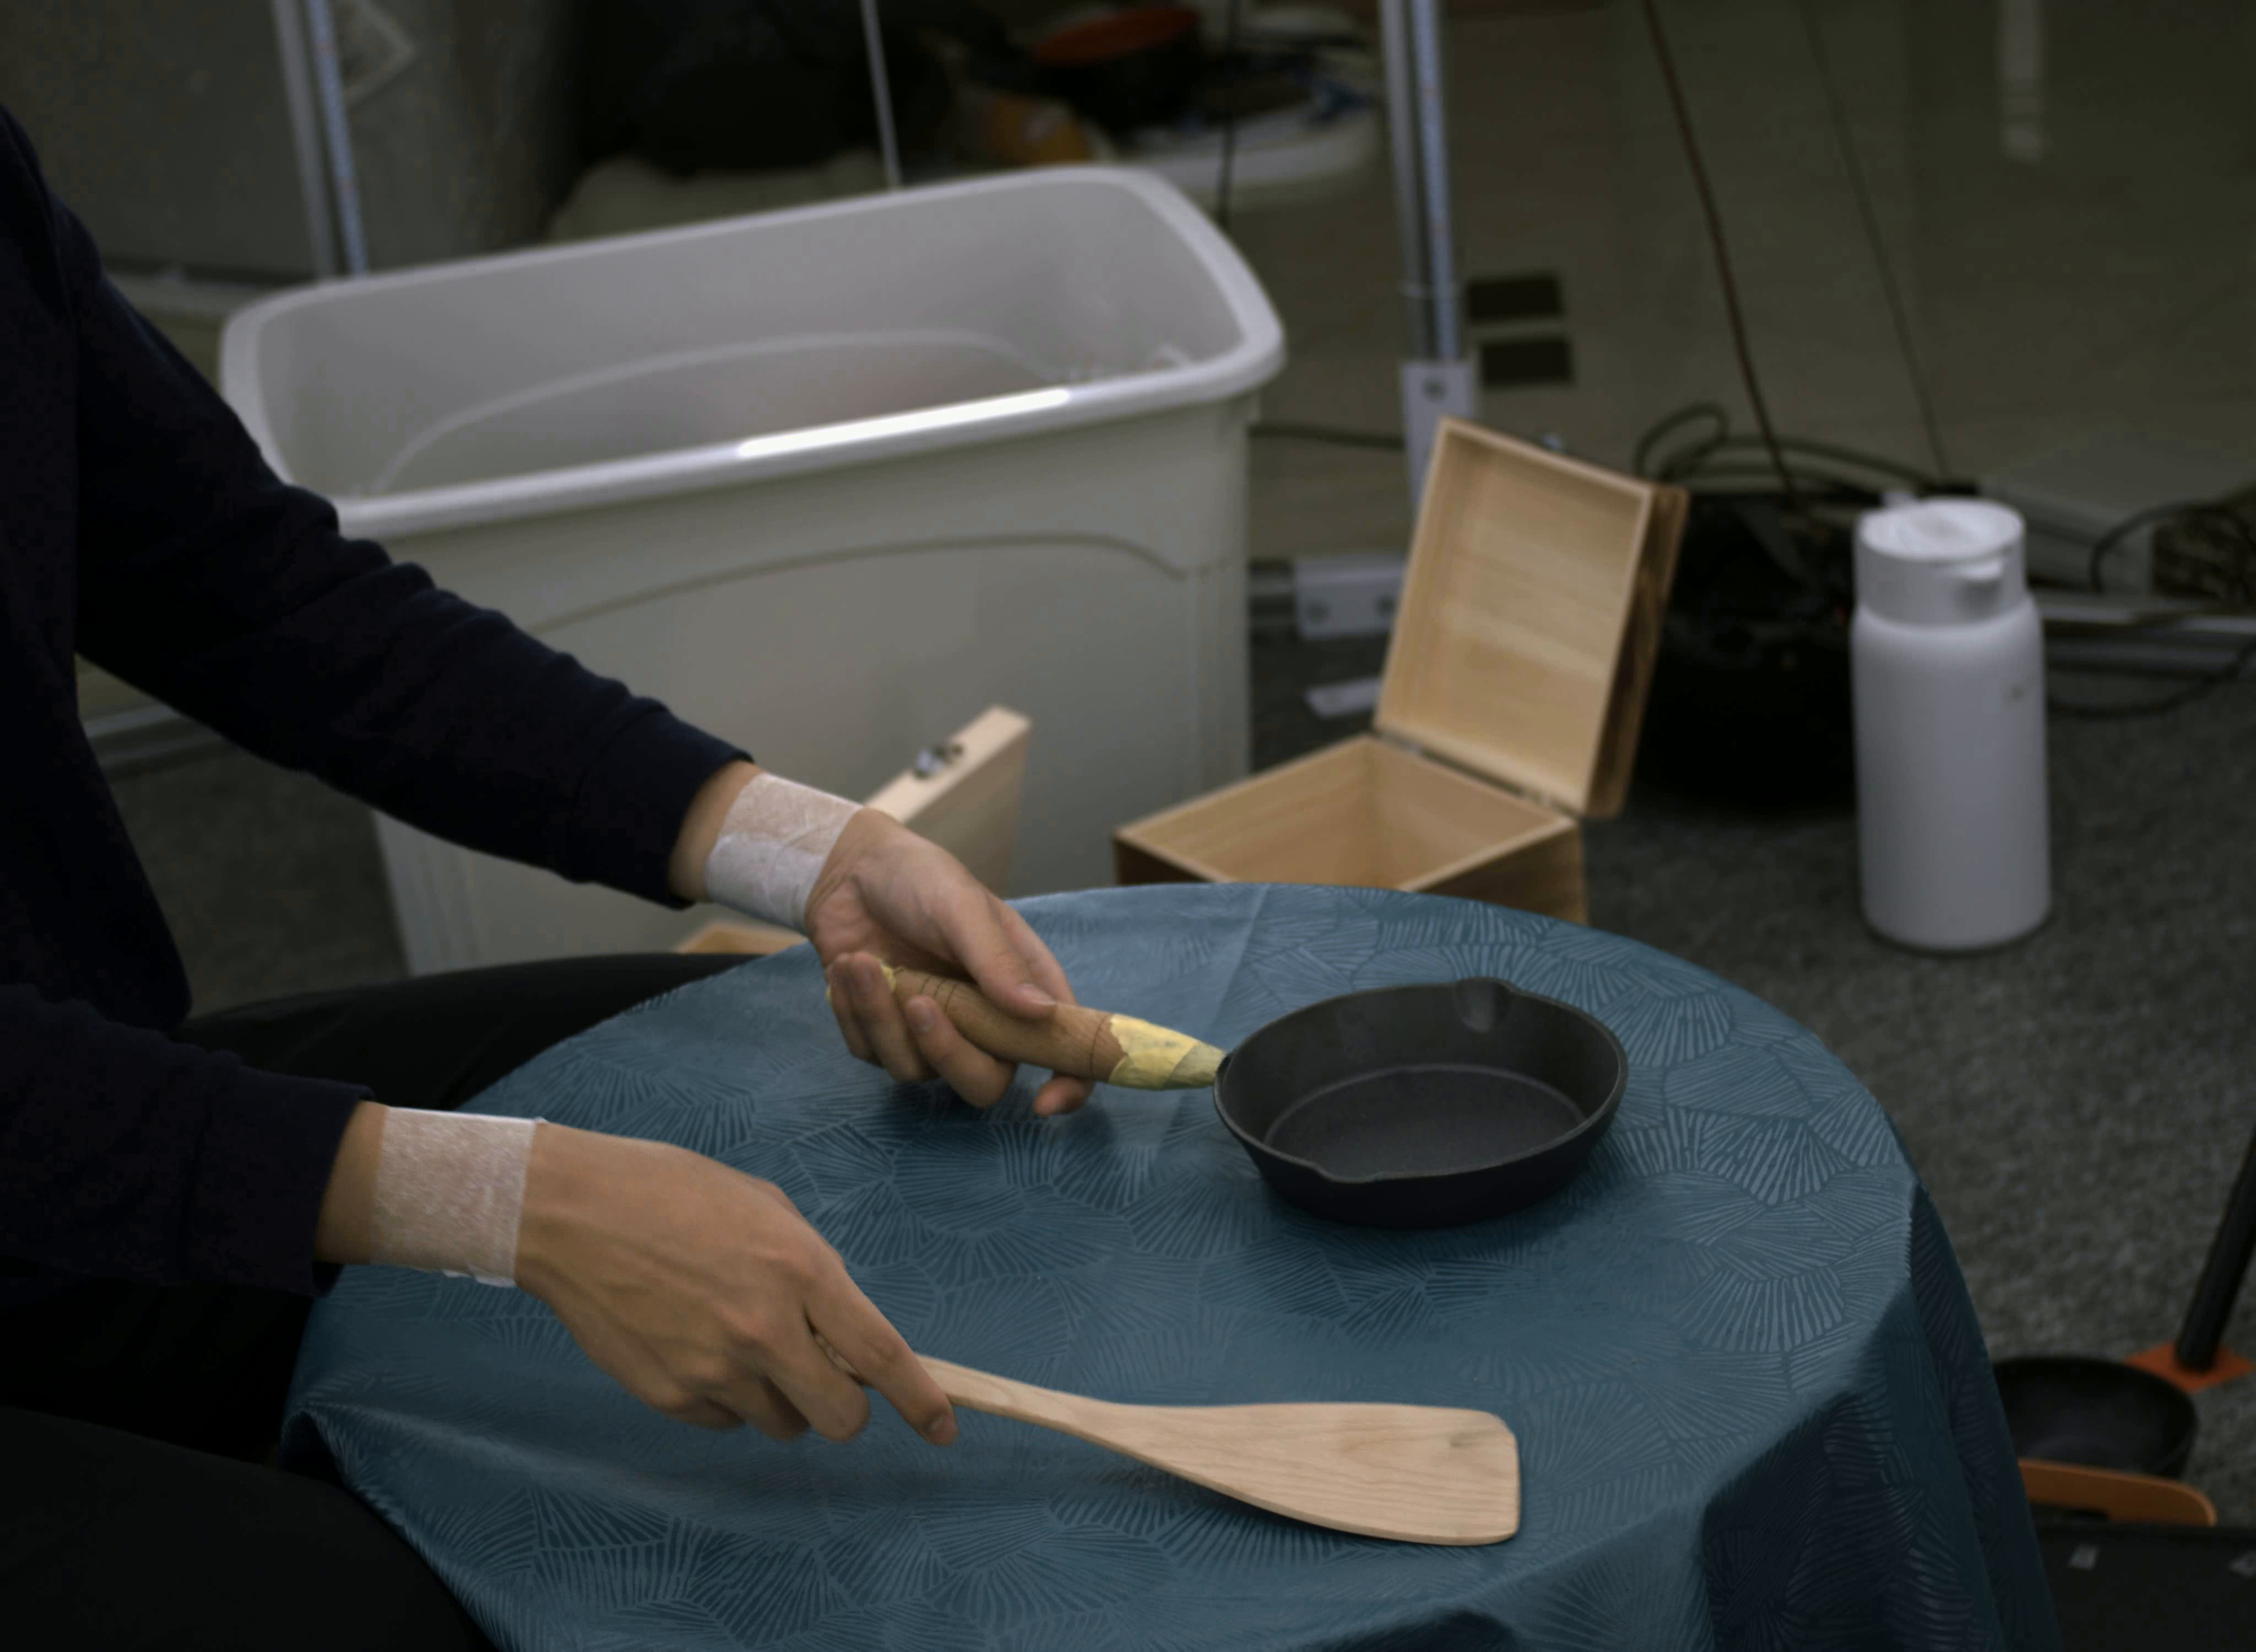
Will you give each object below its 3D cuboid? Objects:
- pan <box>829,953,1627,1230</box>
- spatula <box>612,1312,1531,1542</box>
[{"bbox_3d":[0.034,0.092,2.175,0.323,0.050,0.167,8,28,23],"label":"pan"},{"bbox_3d":[-0.019,0.199,1.956,0.327,0.017,0.079,10,28,8],"label":"spatula"}]
